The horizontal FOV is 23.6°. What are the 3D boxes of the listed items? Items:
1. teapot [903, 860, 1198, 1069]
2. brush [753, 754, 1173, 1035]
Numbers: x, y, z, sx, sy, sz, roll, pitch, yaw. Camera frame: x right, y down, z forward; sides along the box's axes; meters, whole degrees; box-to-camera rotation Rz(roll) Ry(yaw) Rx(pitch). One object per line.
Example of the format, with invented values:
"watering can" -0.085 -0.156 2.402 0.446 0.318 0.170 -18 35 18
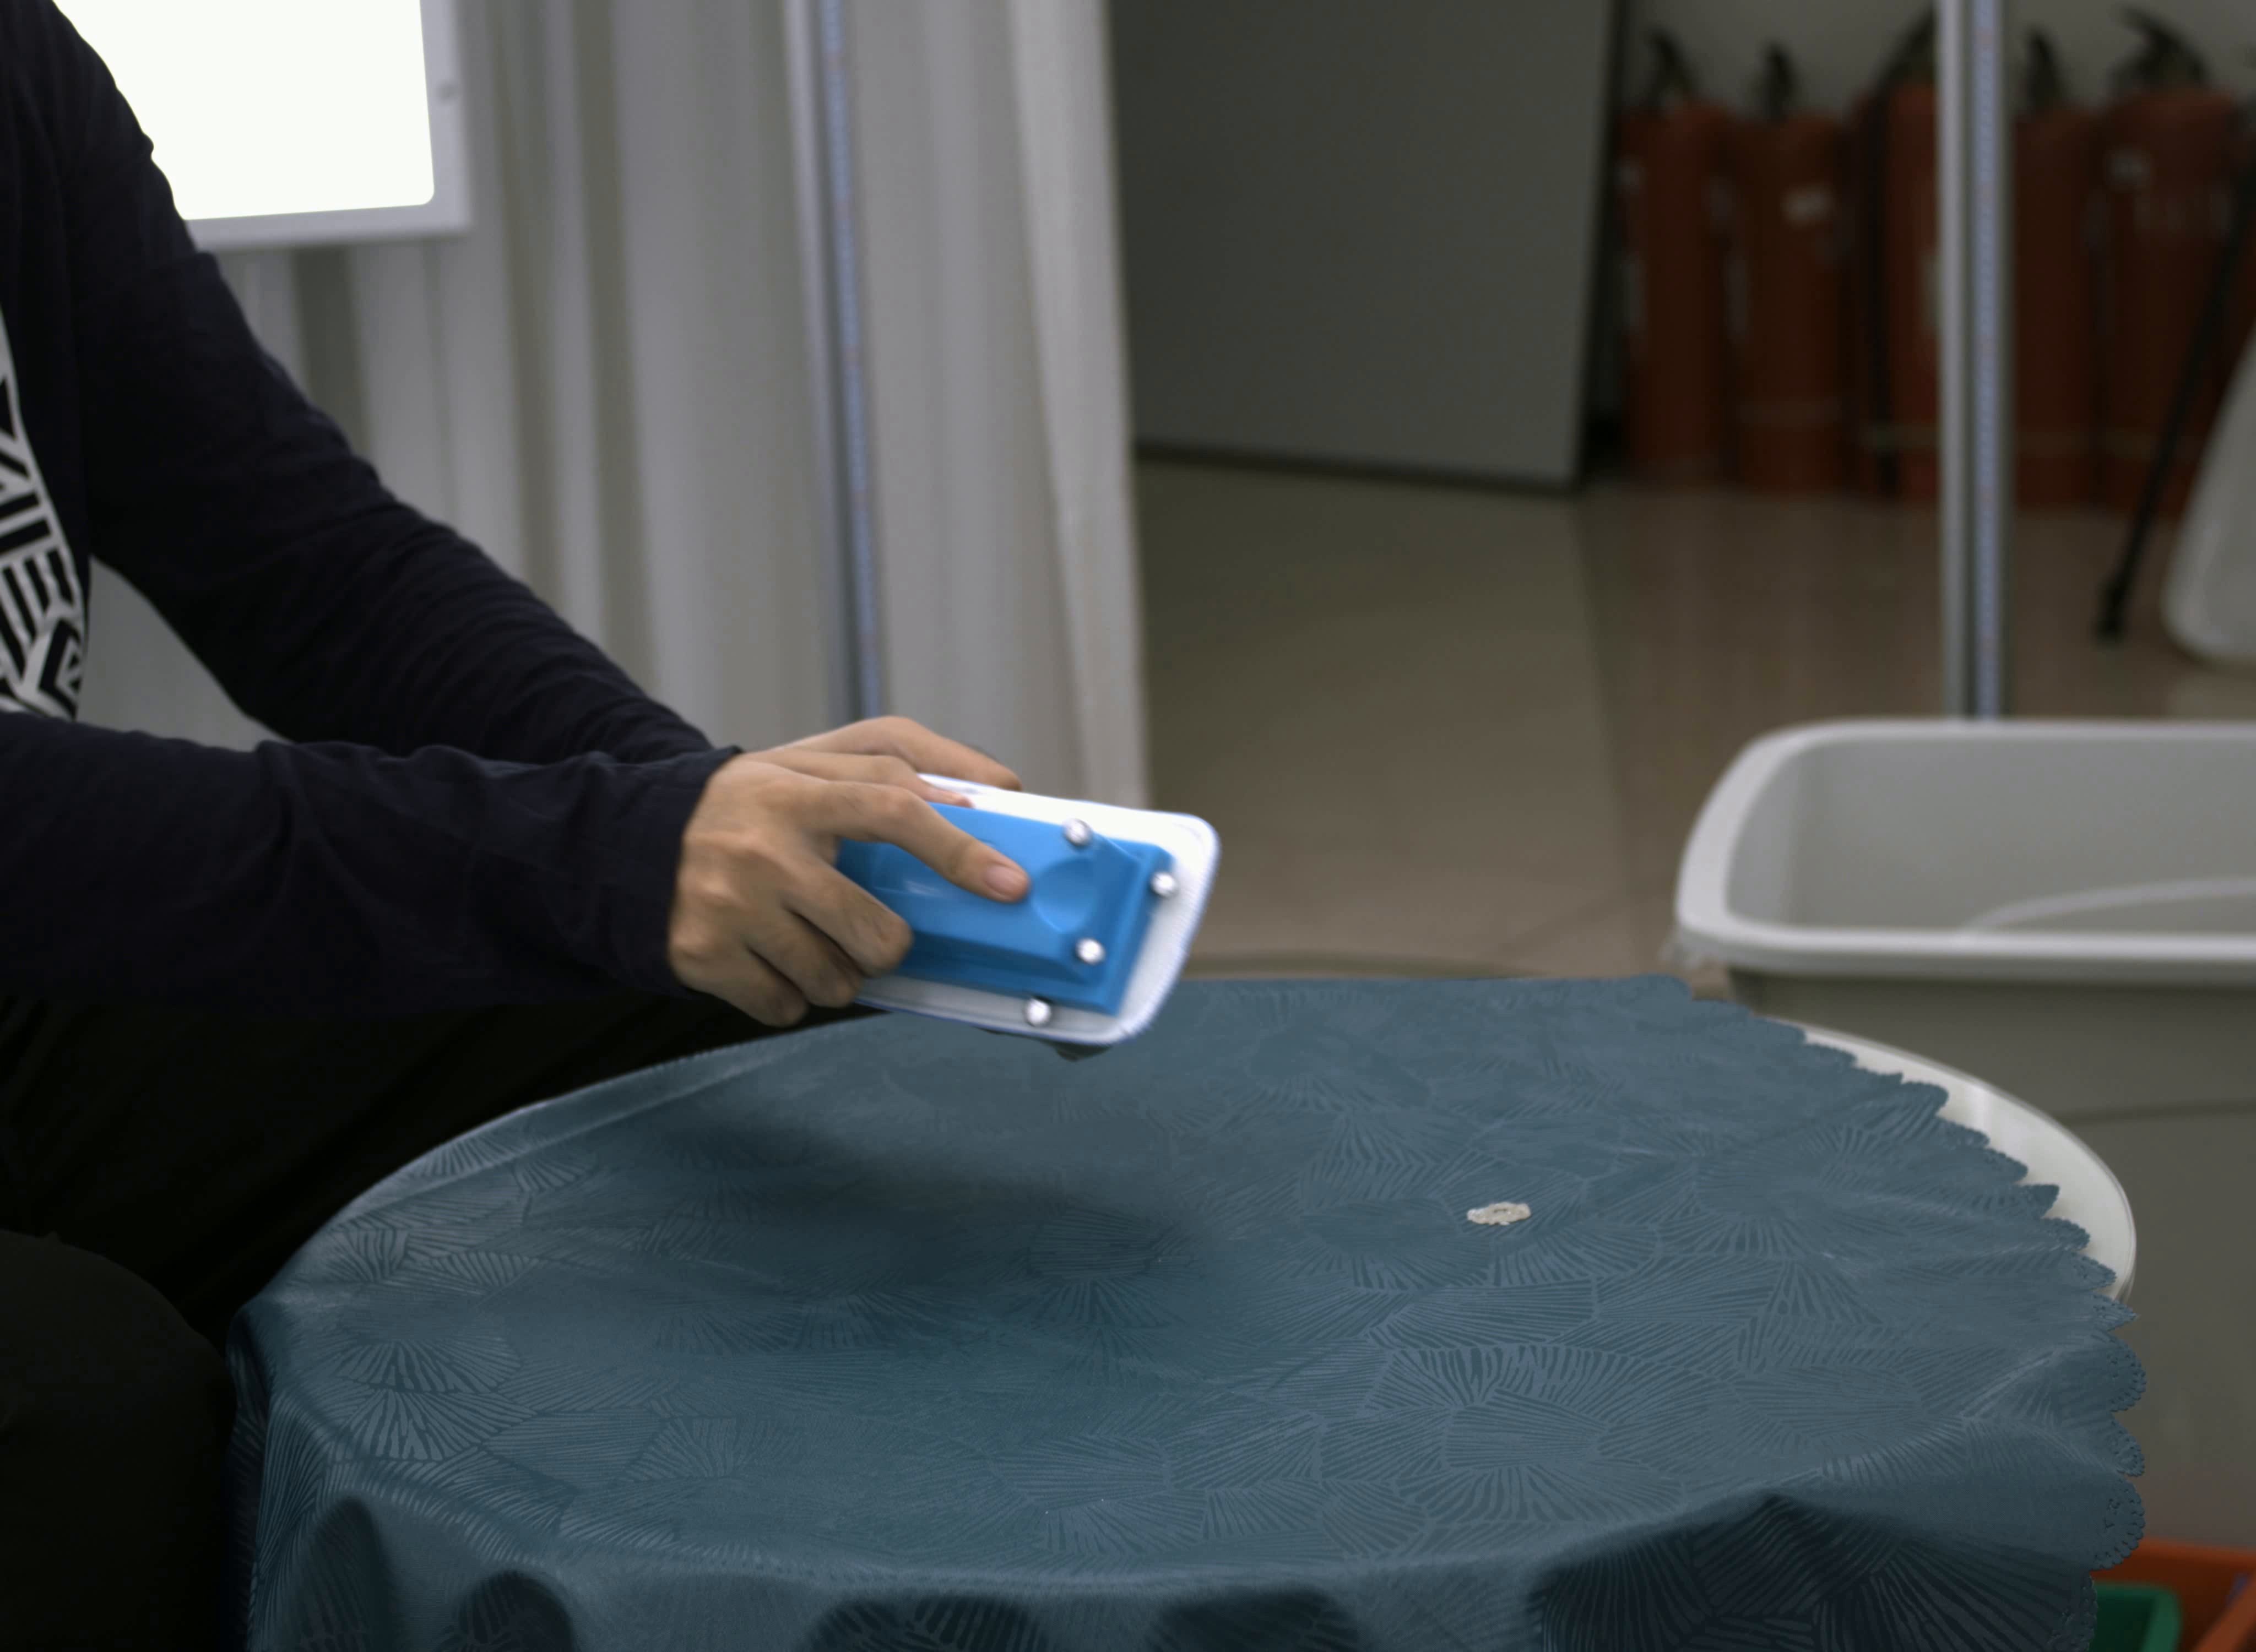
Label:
"teapot" -0.033 0.034 1.766 0.134 0.076 0.078 15 -7 46
"brush" -0.059 0.016 1.708 0.145 0.084 0.055 10 -22 37
